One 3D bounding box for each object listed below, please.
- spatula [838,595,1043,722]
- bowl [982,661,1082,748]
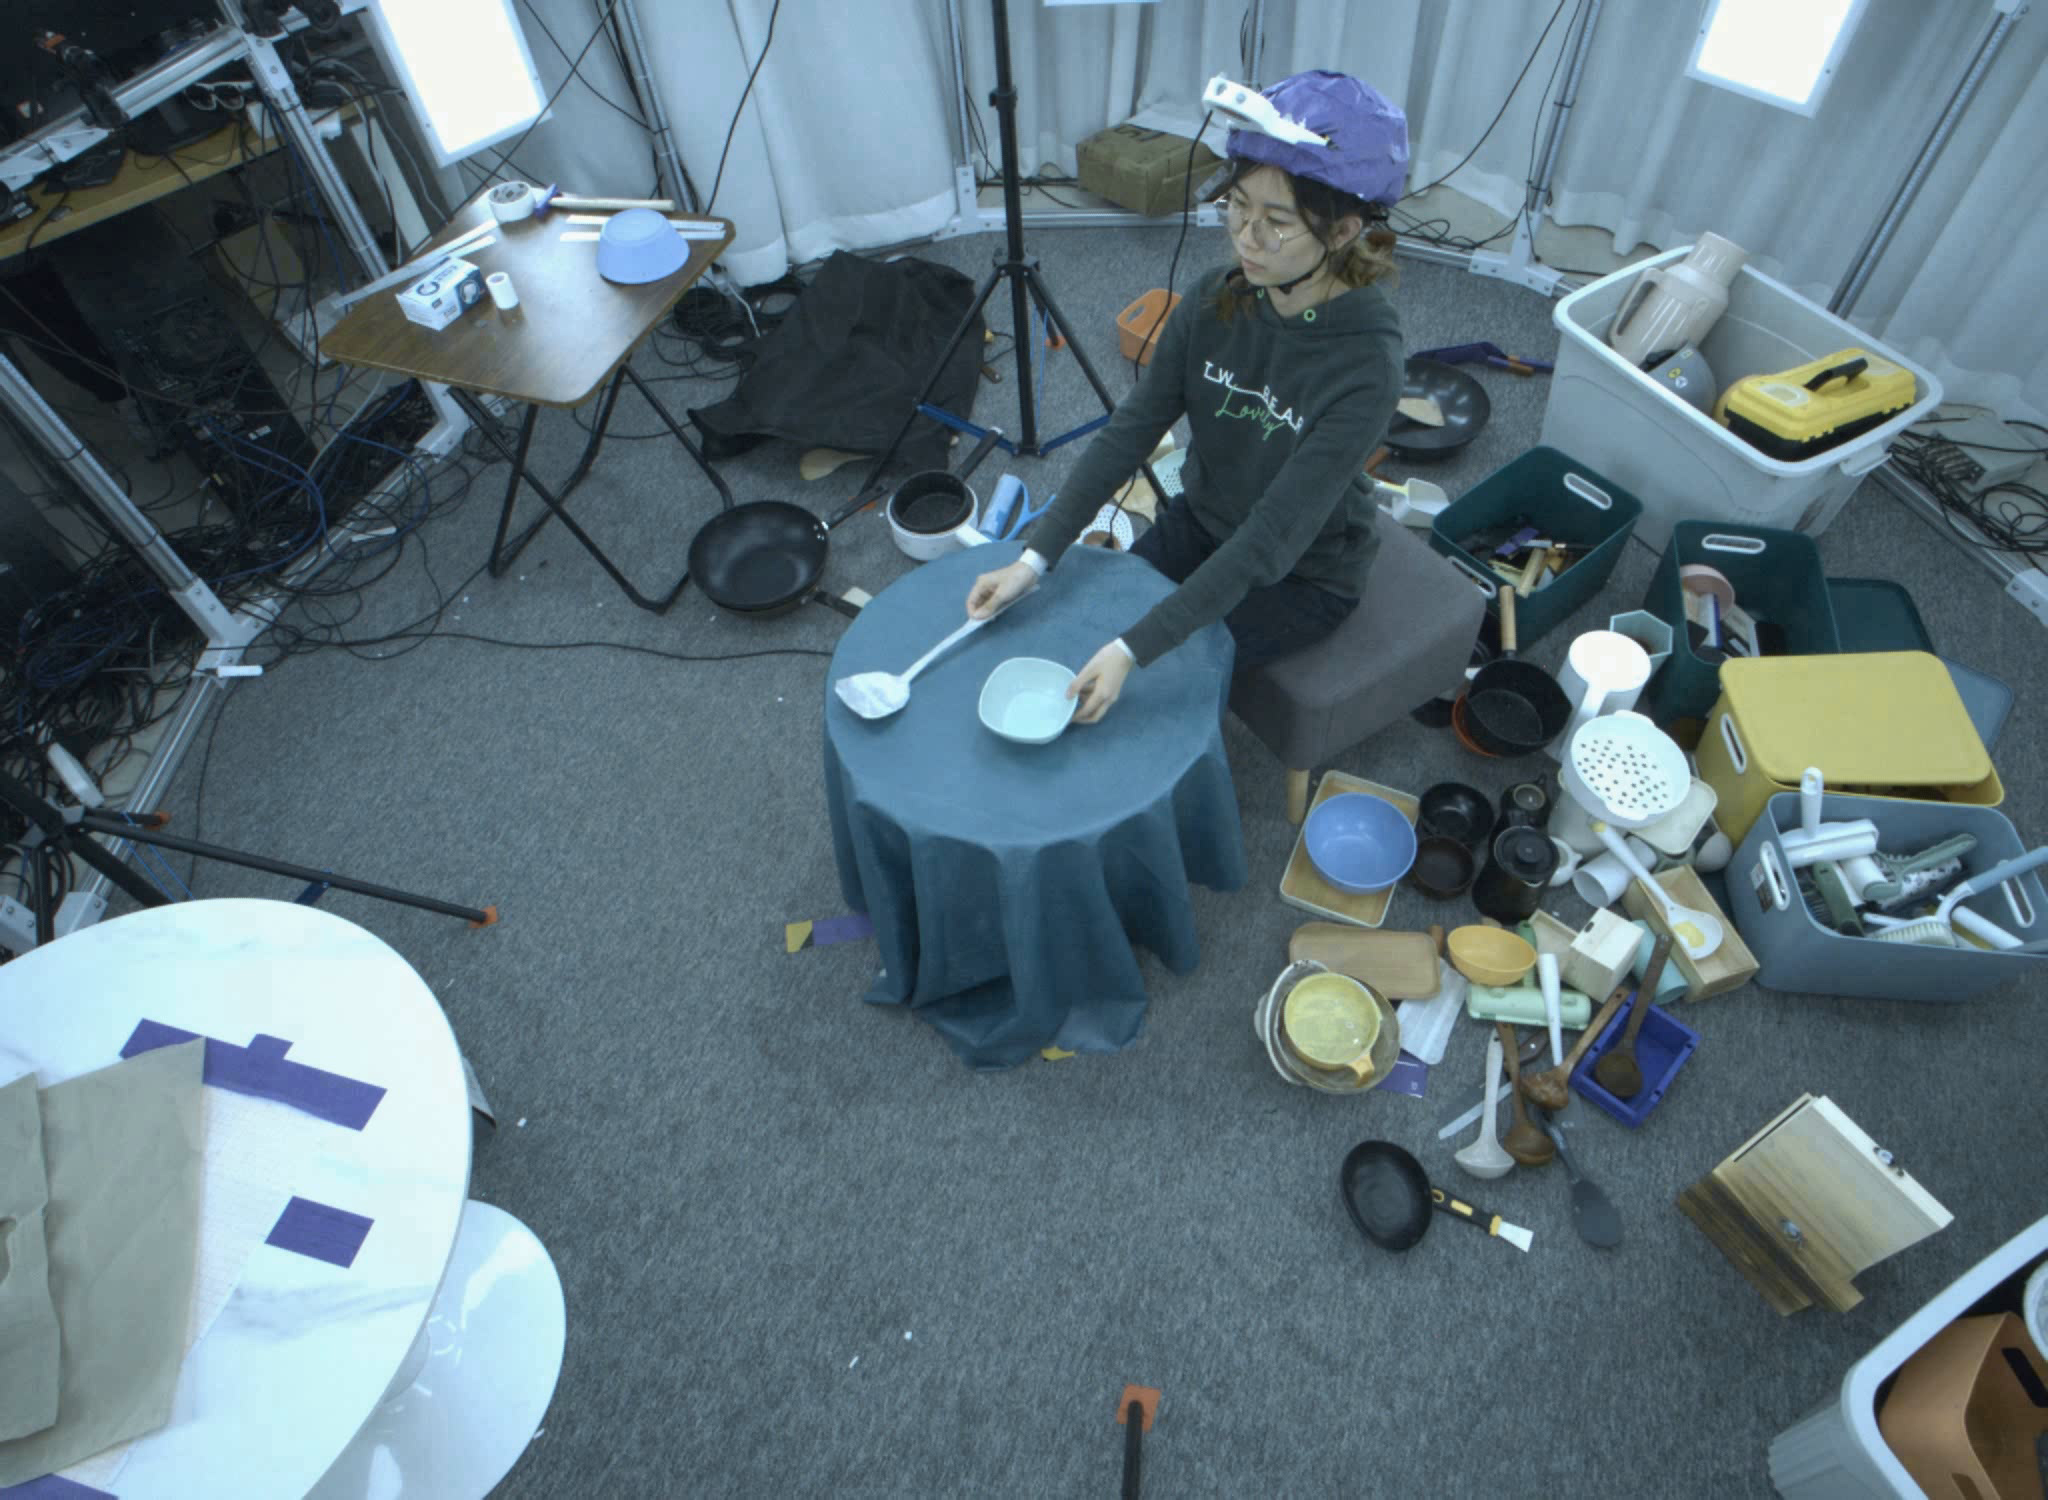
[{"bbox_3d":[-0.119,-0.155,1.879,0.367,0.045,0.097,-37,60,-18],"label":"spatula"},{"bbox_3d":[0.014,-0.056,1.801,0.151,0.059,0.150,-1,59,4],"label":"bowl"}]
